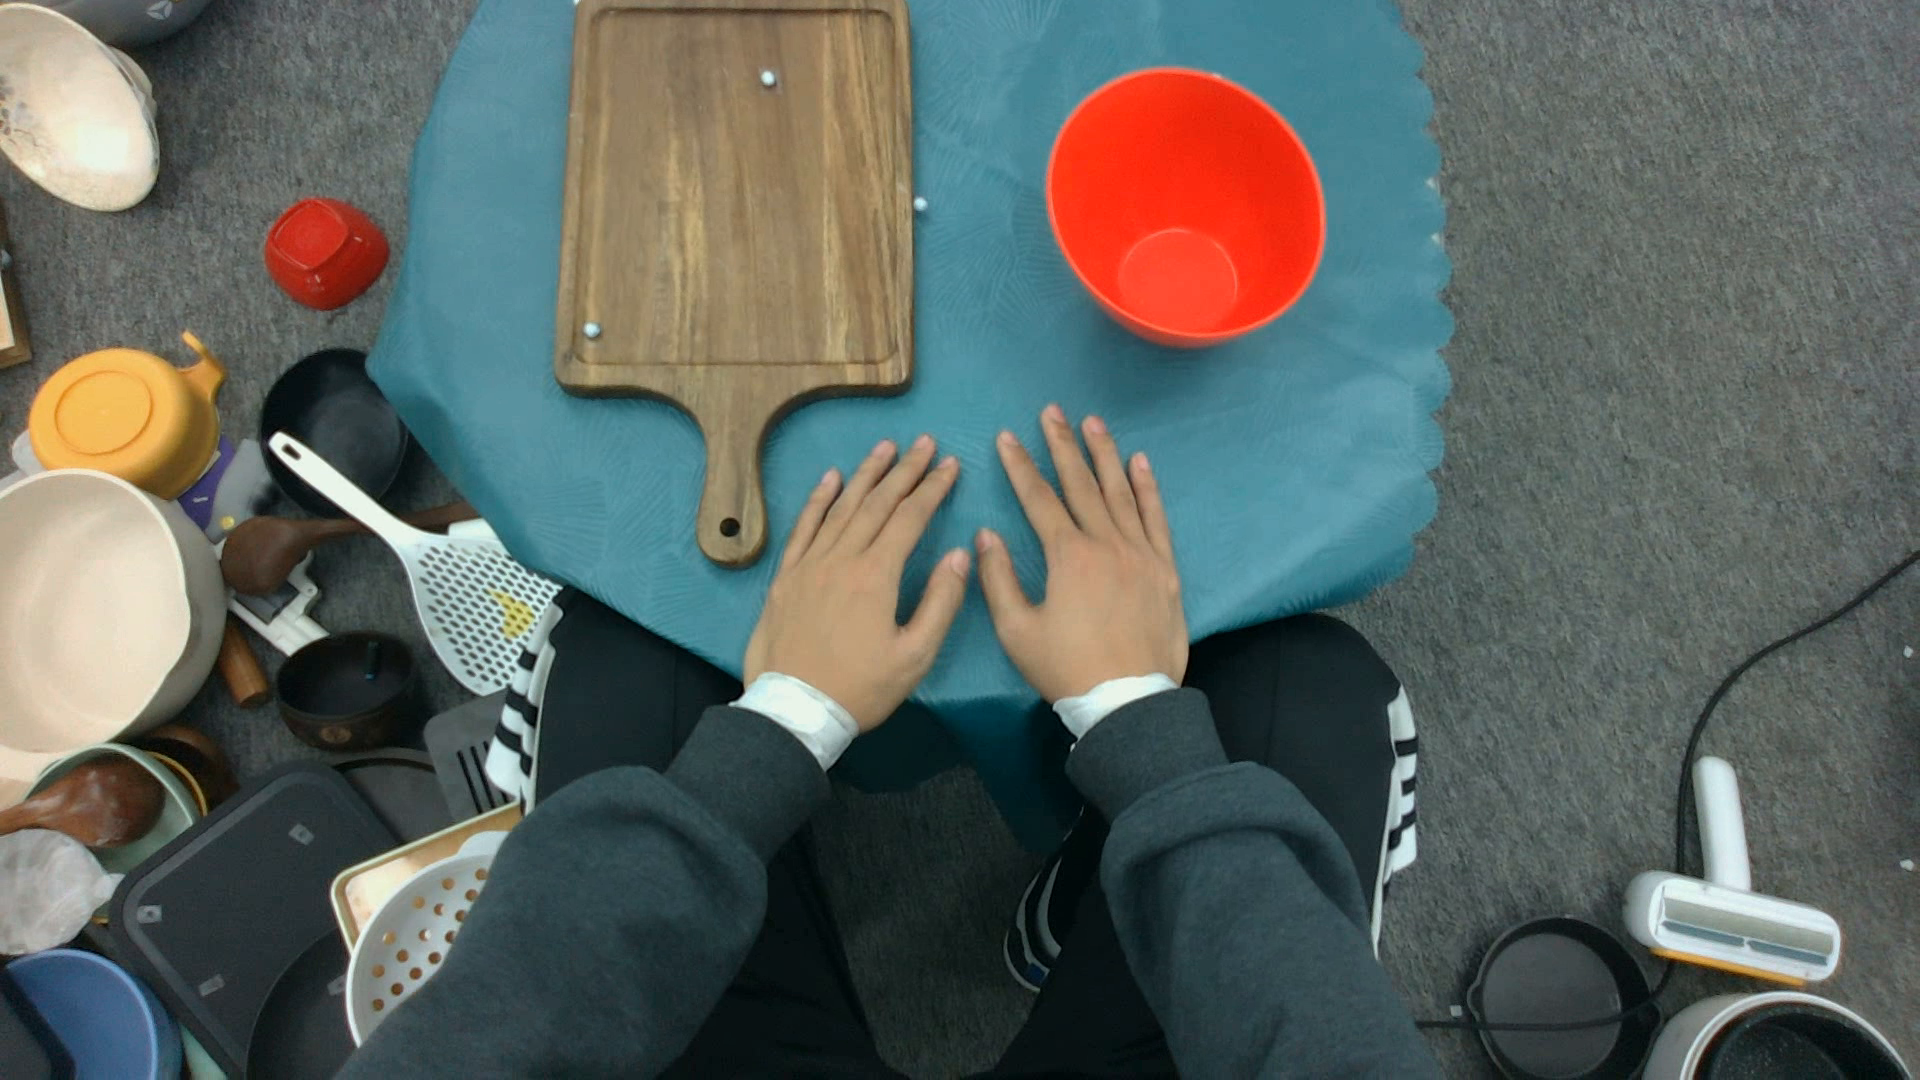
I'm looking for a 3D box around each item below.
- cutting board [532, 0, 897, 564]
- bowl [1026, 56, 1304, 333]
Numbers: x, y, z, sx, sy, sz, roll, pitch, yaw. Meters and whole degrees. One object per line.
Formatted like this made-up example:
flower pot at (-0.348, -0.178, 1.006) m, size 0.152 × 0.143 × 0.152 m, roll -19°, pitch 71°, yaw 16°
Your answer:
cutting board at (-0.137, -0.159, 0.773) m, size 0.201 × 0.023 × 0.353 m, roll -1°, pitch 75°, yaw -3°
bowl at (0.106, -0.171, 0.745) m, size 0.148 × 0.104 × 0.148 m, roll 1°, pitch 74°, yaw -2°
